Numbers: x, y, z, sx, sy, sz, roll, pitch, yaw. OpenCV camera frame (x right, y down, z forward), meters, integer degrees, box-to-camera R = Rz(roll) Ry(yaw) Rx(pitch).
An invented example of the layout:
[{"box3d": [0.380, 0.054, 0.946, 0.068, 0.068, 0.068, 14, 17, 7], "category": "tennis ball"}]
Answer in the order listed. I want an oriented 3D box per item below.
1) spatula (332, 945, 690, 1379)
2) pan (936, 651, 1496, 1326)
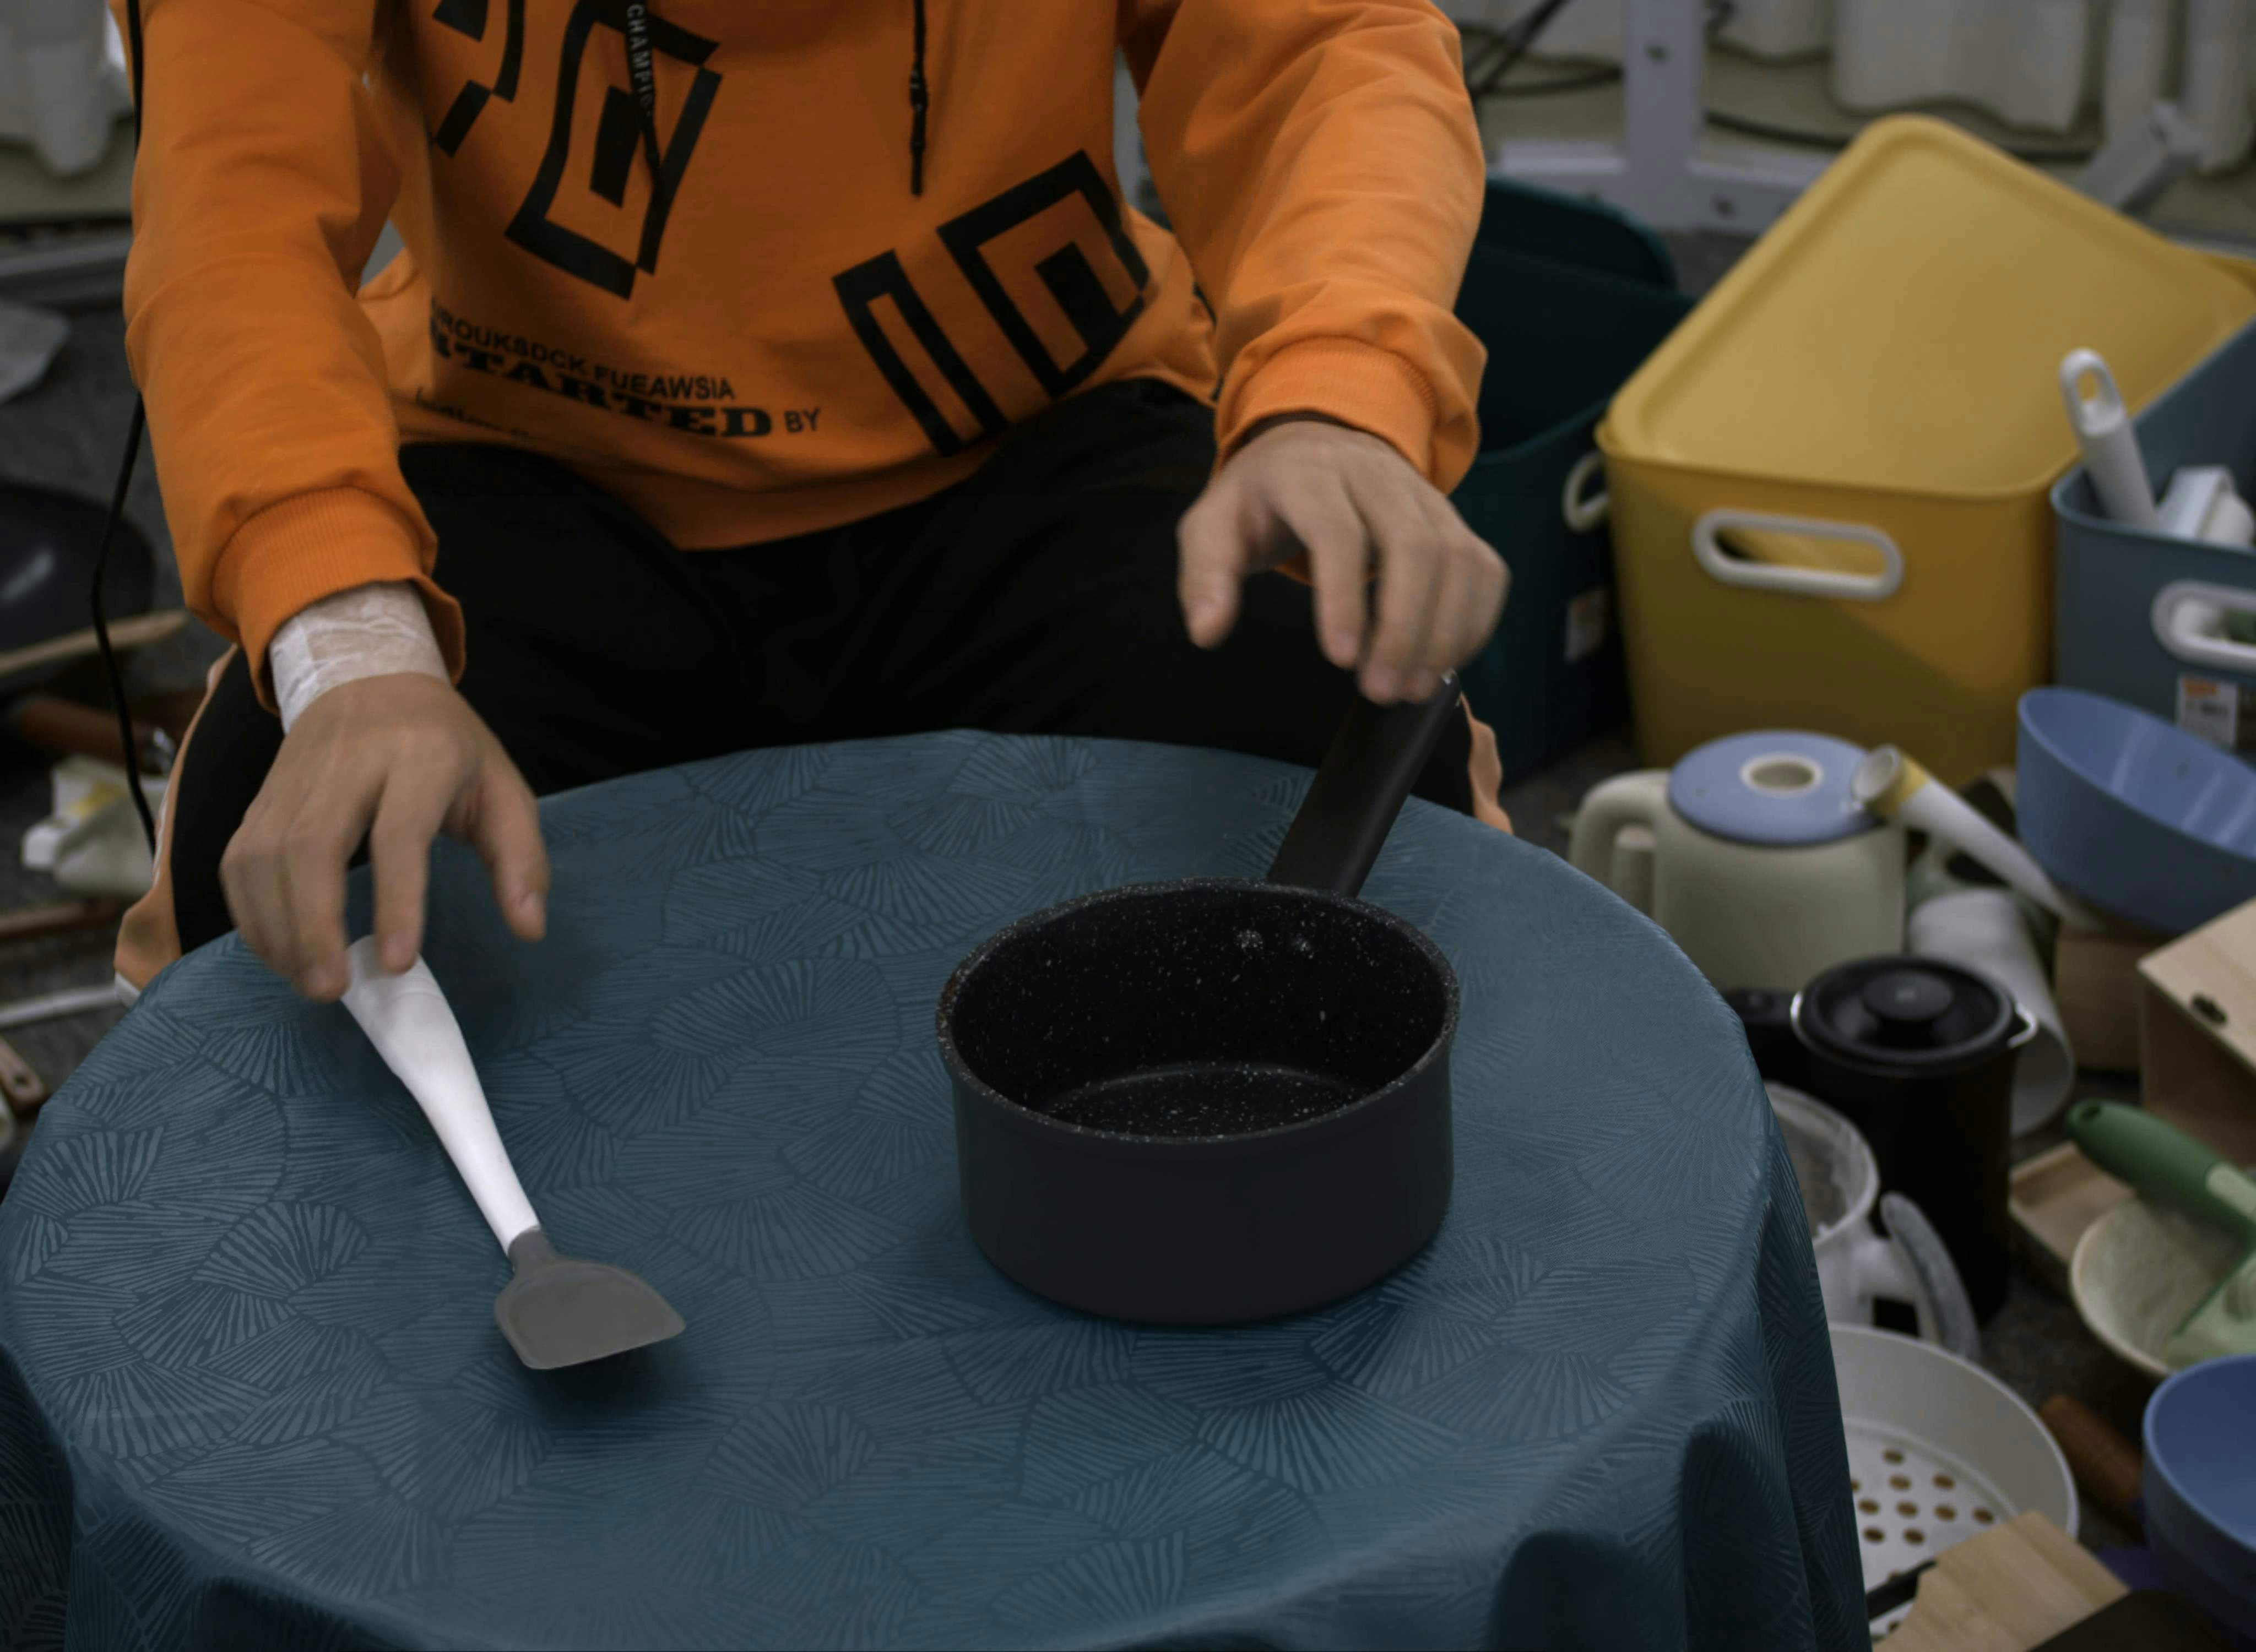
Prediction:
[{"box3d": [-0.212, 0.115, 1.862, 0.059, 0.032, 0.290, -9, 27, -20], "category": "spatula"}, {"box3d": [0.054, 0.051, 1.902, 0.171, 0.085, 0.334, 9, 31, 20], "category": "pan"}]
